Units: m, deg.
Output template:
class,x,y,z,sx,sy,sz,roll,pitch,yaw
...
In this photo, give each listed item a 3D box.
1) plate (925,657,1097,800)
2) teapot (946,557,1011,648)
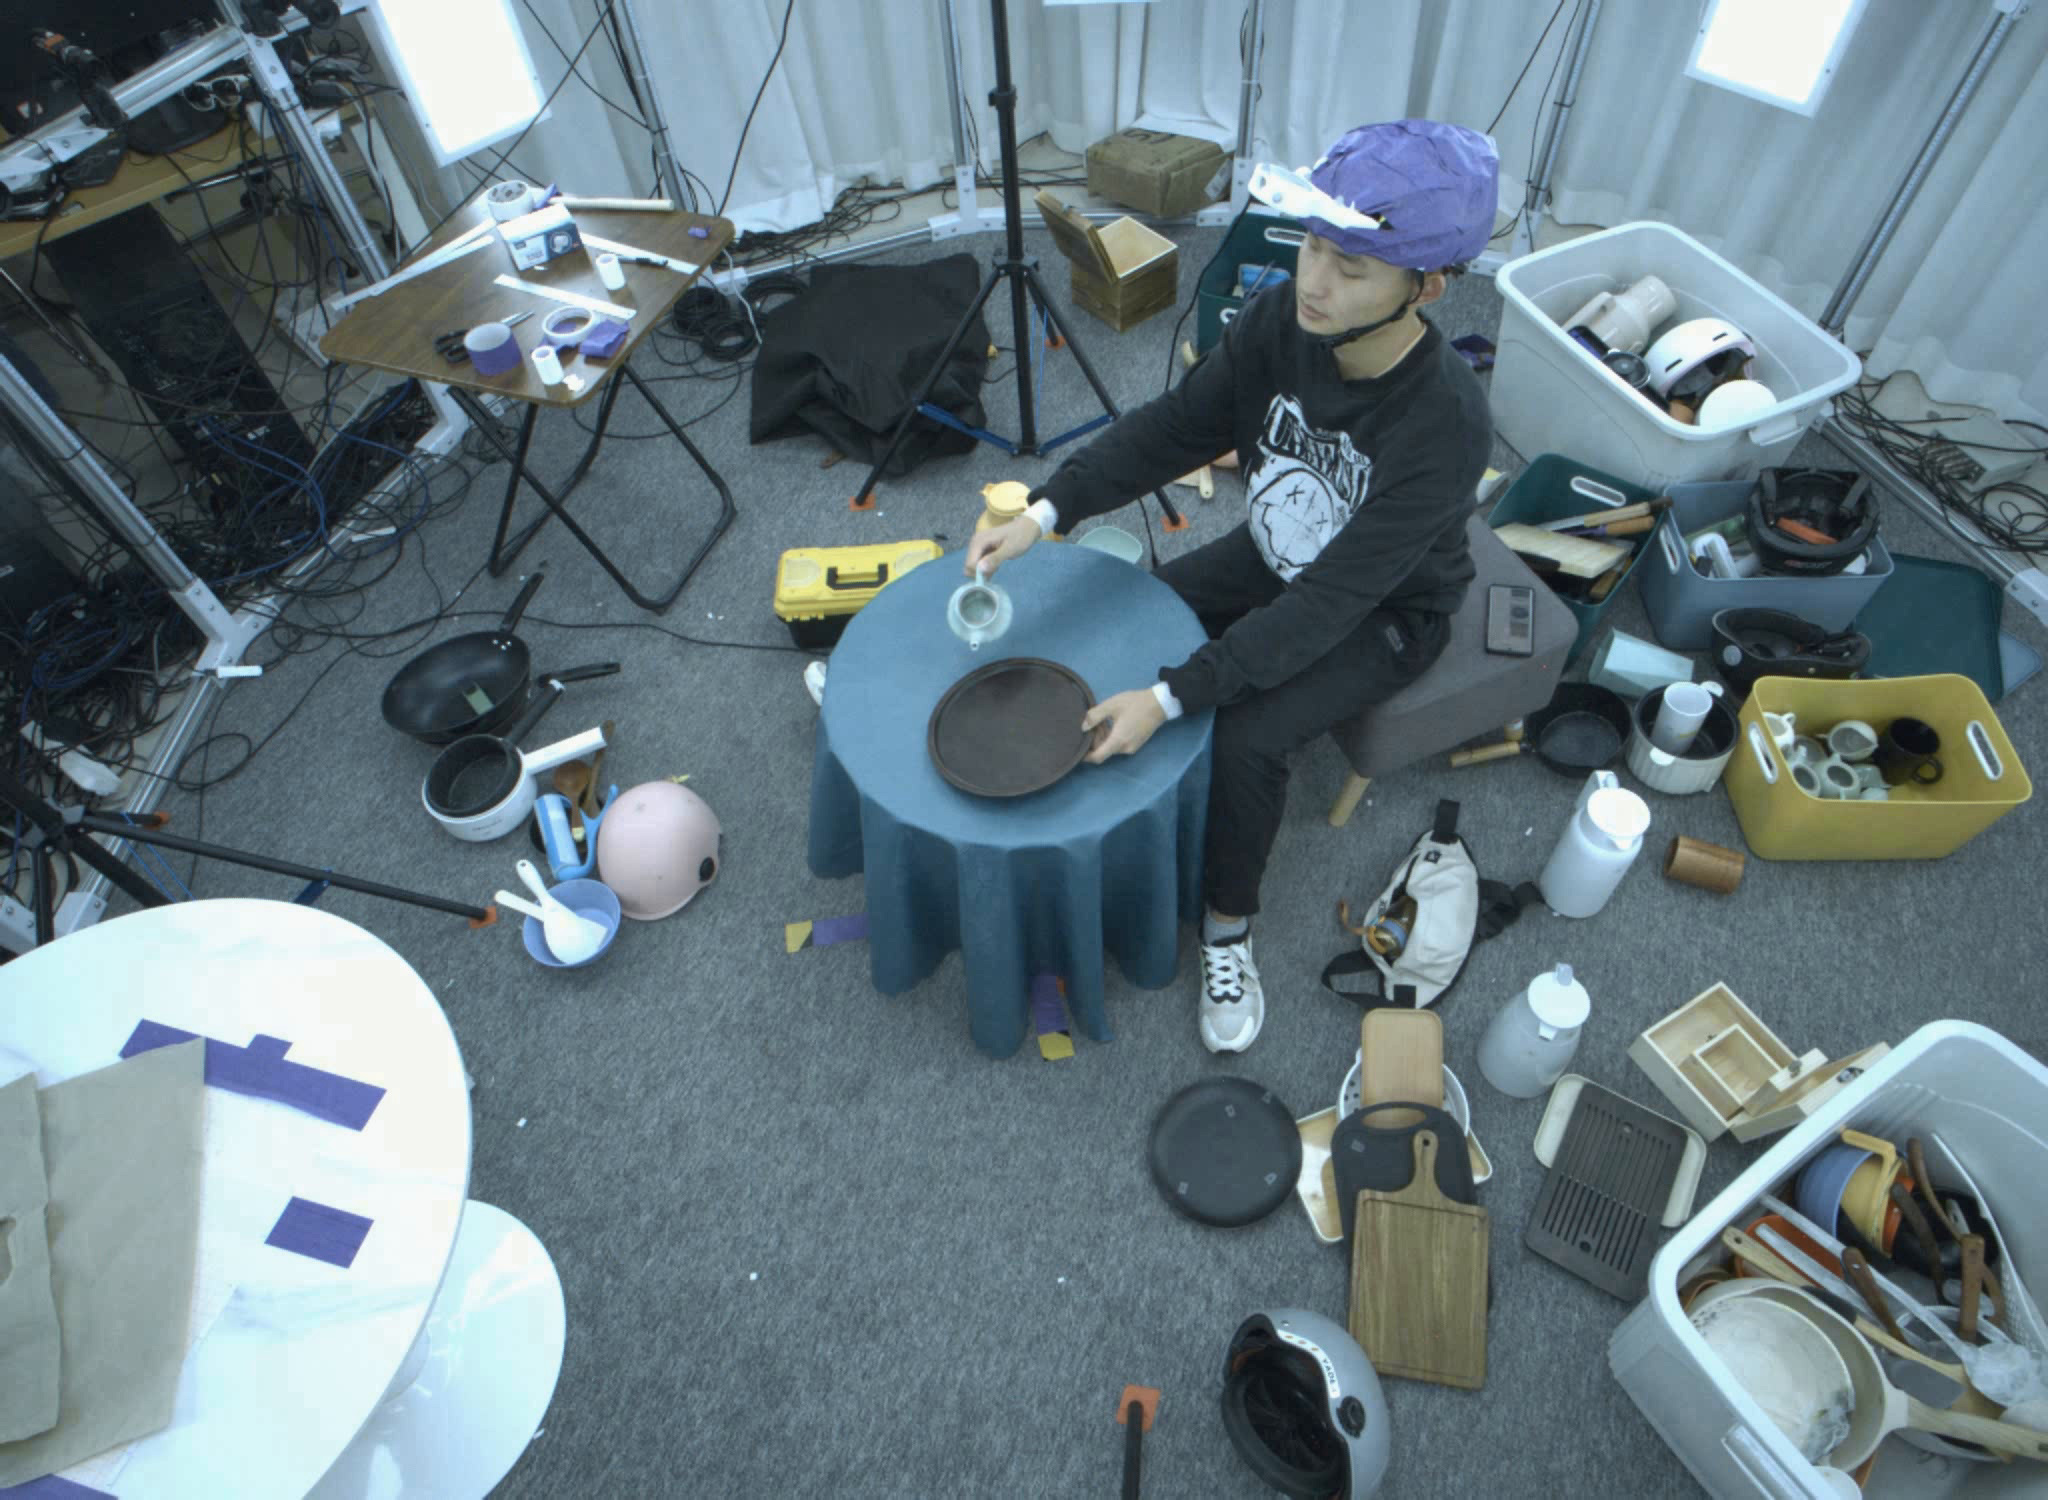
class,x,y,z,sx,sy,sz,roll,pitch,yaw
plate,-0.018,-0.033,1.774,0.253,0.029,0.252,-6,54,9
teapot,-0.068,-0.210,1.775,0.096,0.062,0.136,1,84,4
